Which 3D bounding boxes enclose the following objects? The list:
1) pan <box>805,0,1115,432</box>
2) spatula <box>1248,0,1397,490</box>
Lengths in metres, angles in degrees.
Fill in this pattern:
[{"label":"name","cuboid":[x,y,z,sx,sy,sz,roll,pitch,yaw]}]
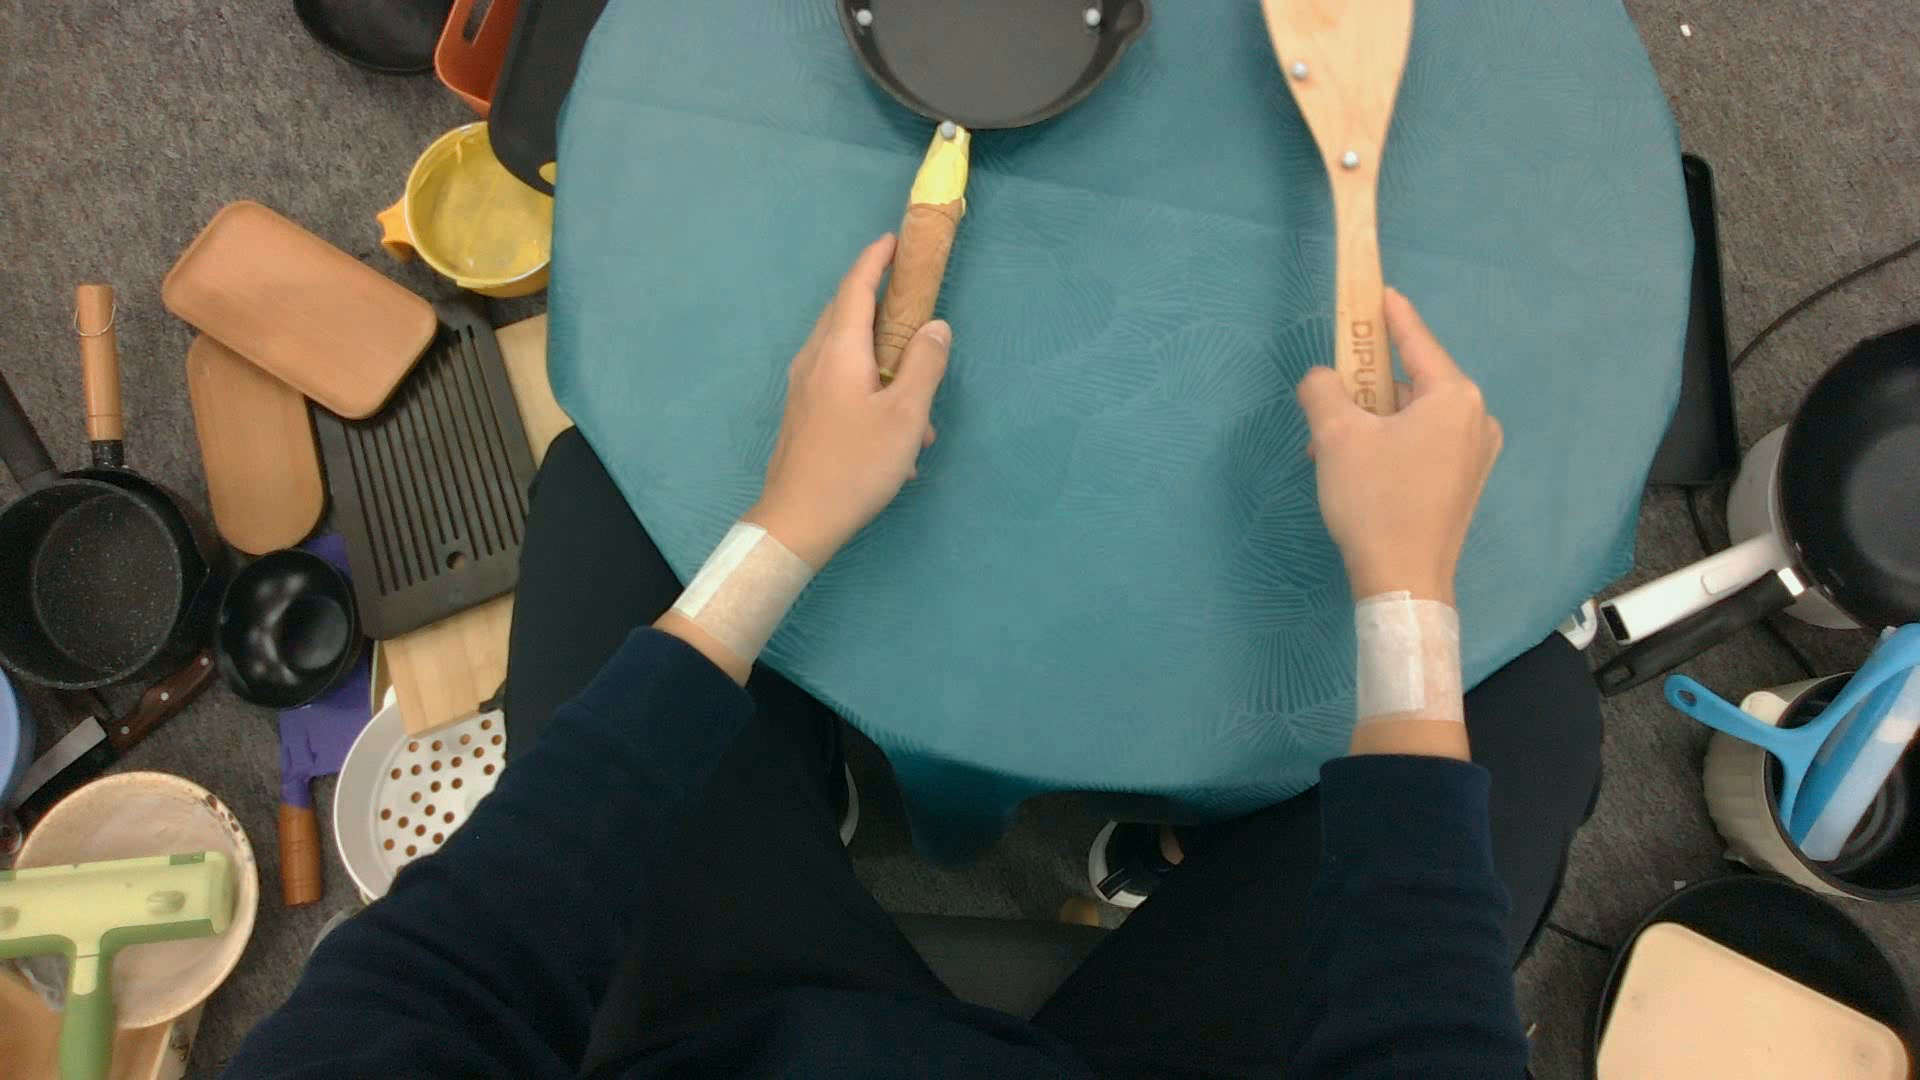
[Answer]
[{"label":"pan","cuboid":[-0.021,-0.207,0.702,0.169,0.049,0.325,13,79,0]},{"label":"spatula","cuboid":[0.186,-0.178,0.685,0.080,0.016,0.328,0,69,6]}]
